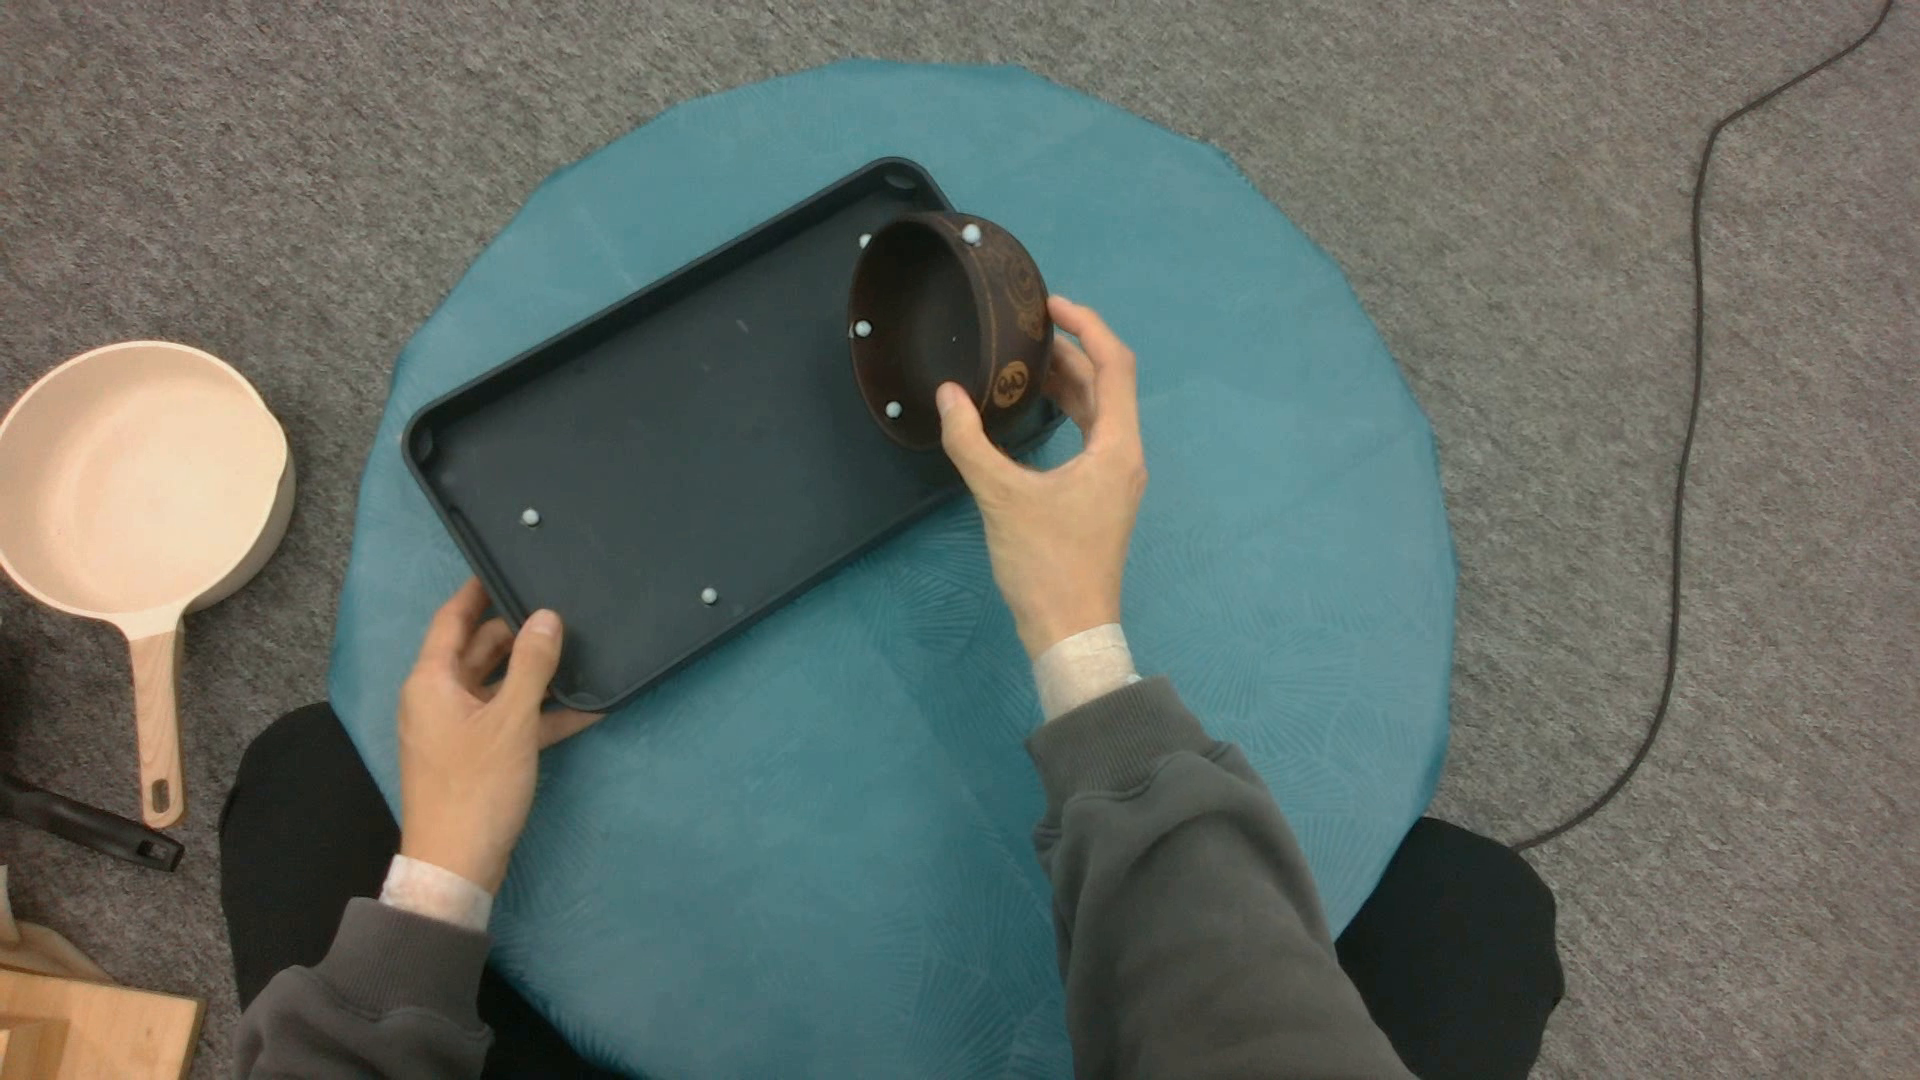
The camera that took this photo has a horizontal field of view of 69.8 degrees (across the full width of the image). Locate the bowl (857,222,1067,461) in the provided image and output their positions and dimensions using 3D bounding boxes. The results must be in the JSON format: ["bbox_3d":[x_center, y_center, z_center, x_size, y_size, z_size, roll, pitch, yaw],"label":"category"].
[{"bbox_3d":[0.009,-0.101,0.699,0.070,0.117,0.118,-10,74,-40],"label":"bowl"}]

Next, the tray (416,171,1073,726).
[{"bbox_3d":[-0.111,-0.055,0.750,0.318,0.037,0.184,-34,81,-14],"label":"tray"}]
